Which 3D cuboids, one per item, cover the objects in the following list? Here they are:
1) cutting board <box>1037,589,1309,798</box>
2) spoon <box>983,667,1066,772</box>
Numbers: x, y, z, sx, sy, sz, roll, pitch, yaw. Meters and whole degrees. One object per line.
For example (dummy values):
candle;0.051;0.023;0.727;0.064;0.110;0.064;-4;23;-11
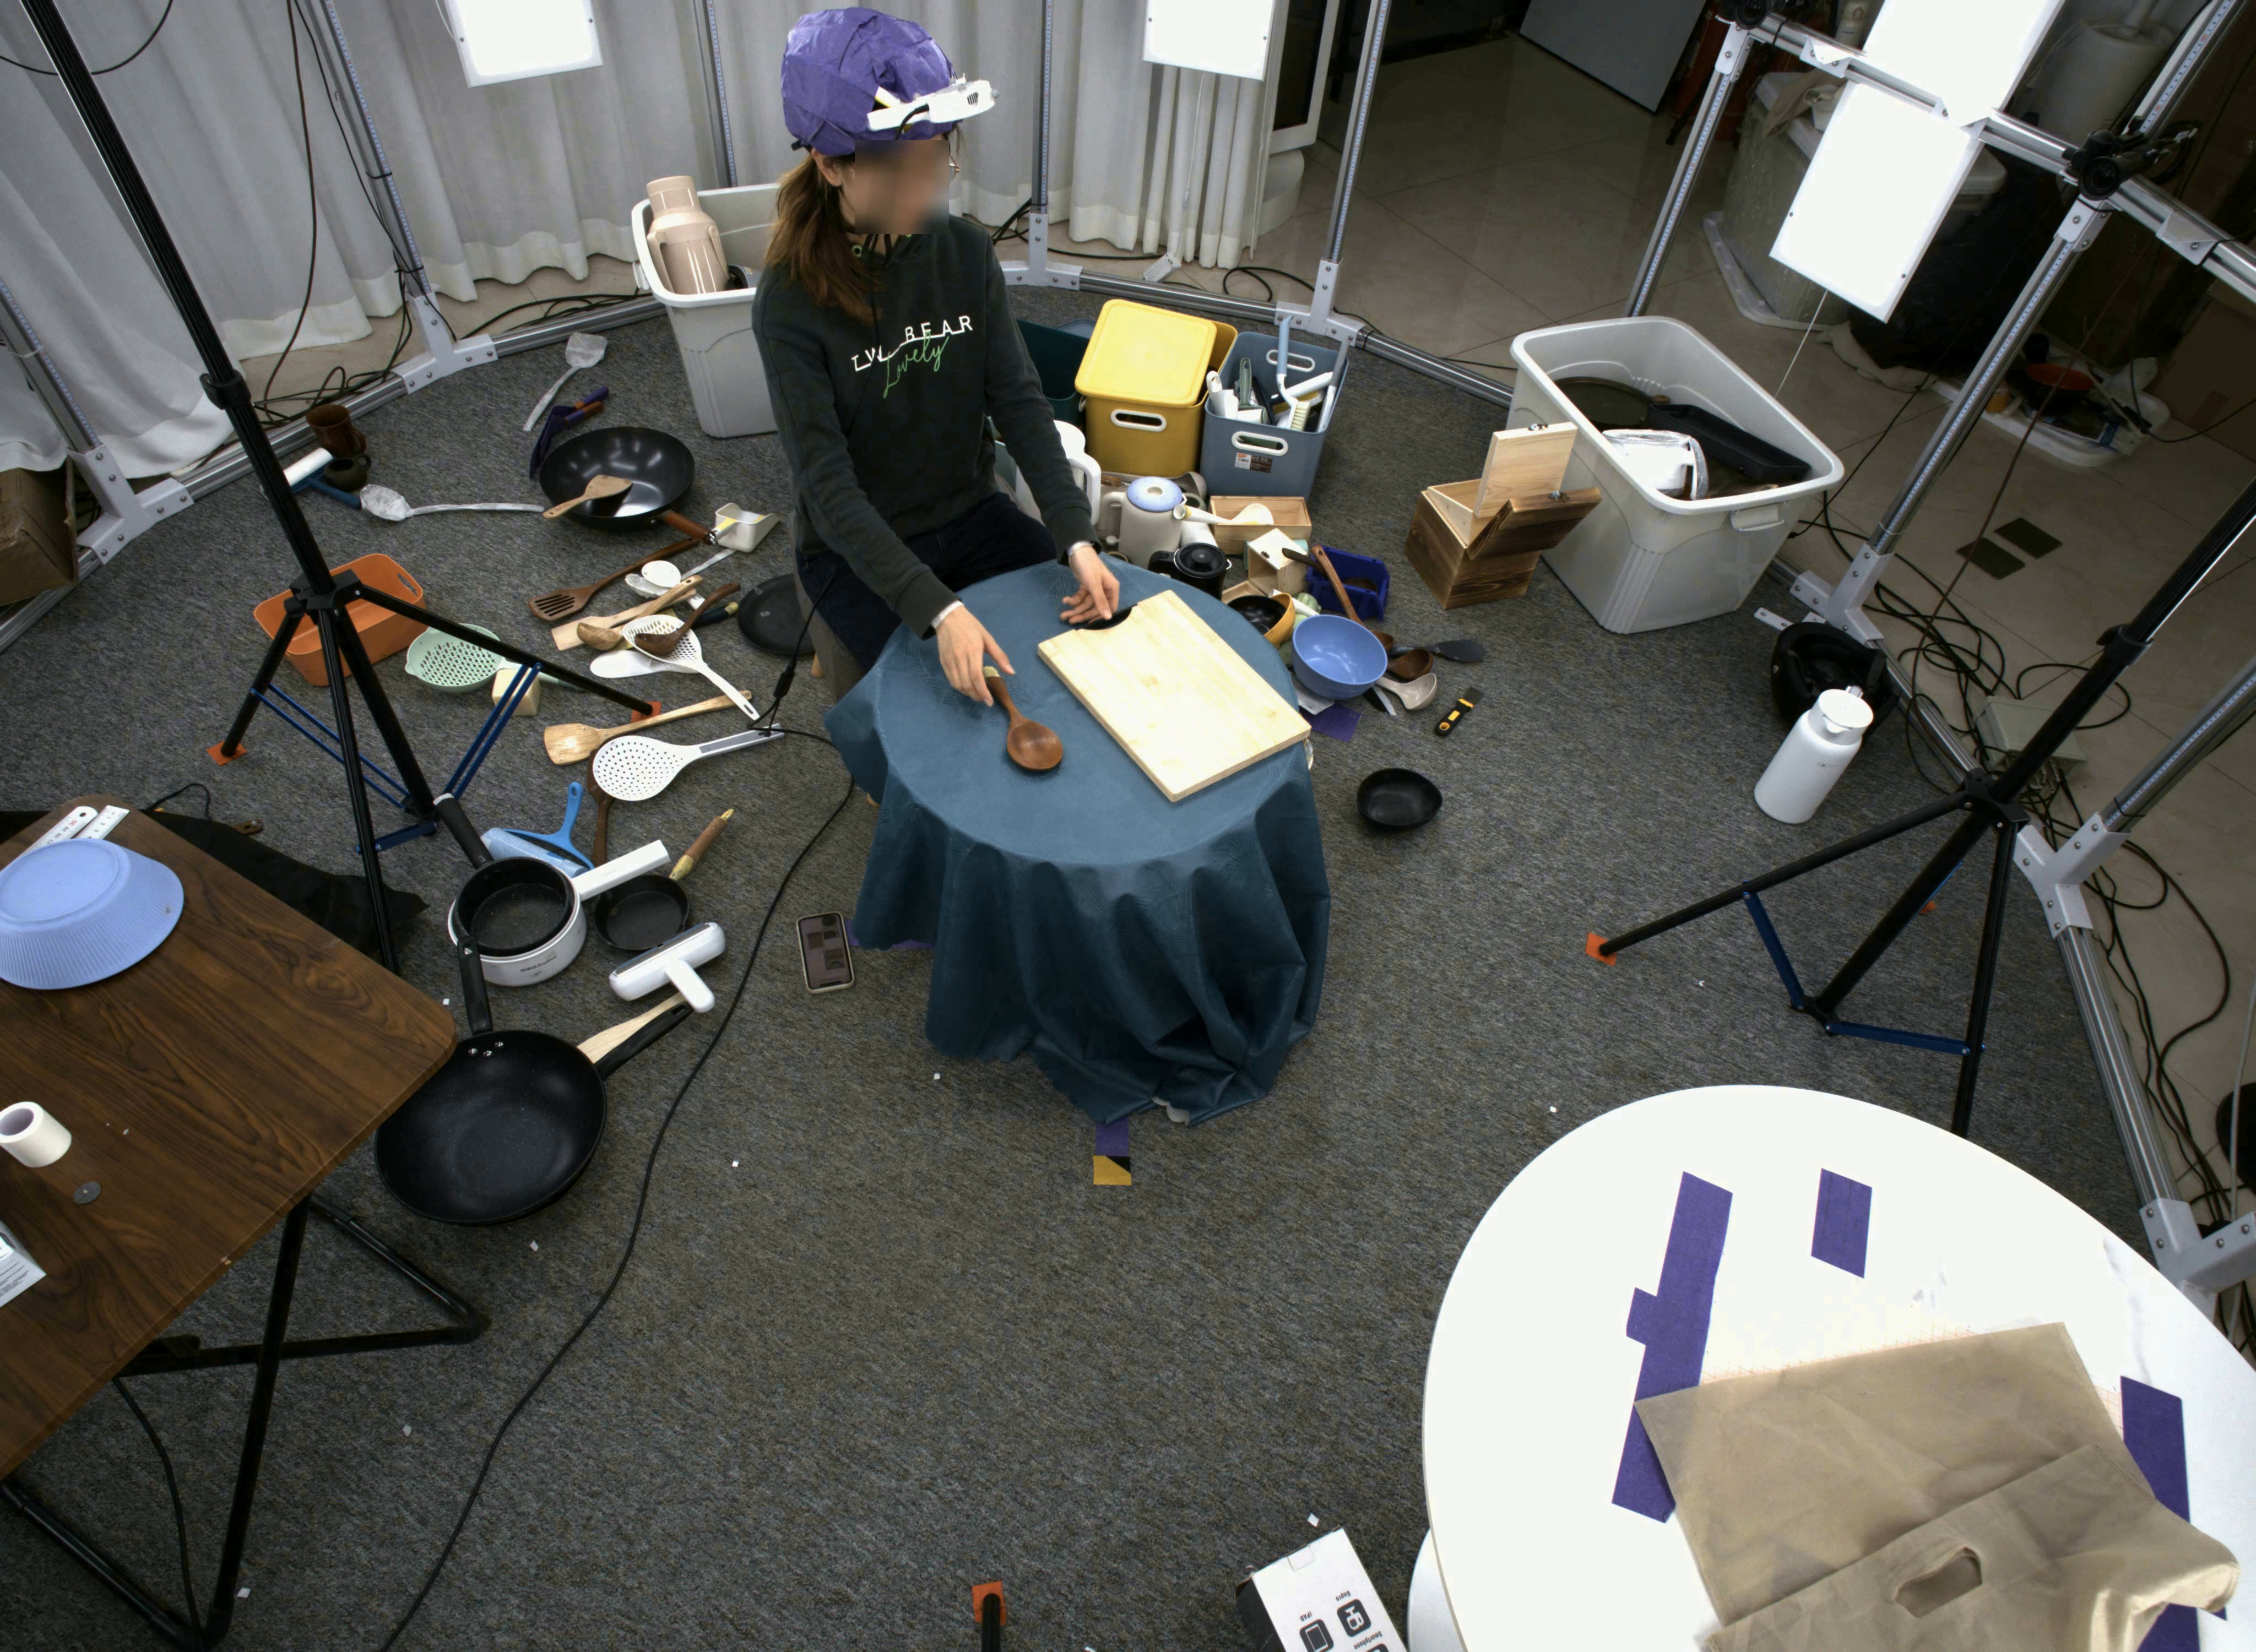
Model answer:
cutting board;0.060;-0.199;1.852;0.252;0.023;0.355;-26;55;-25
spoon;-0.153;-0.150;1.793;0.075;0.017;0.220;-19;53;-17
